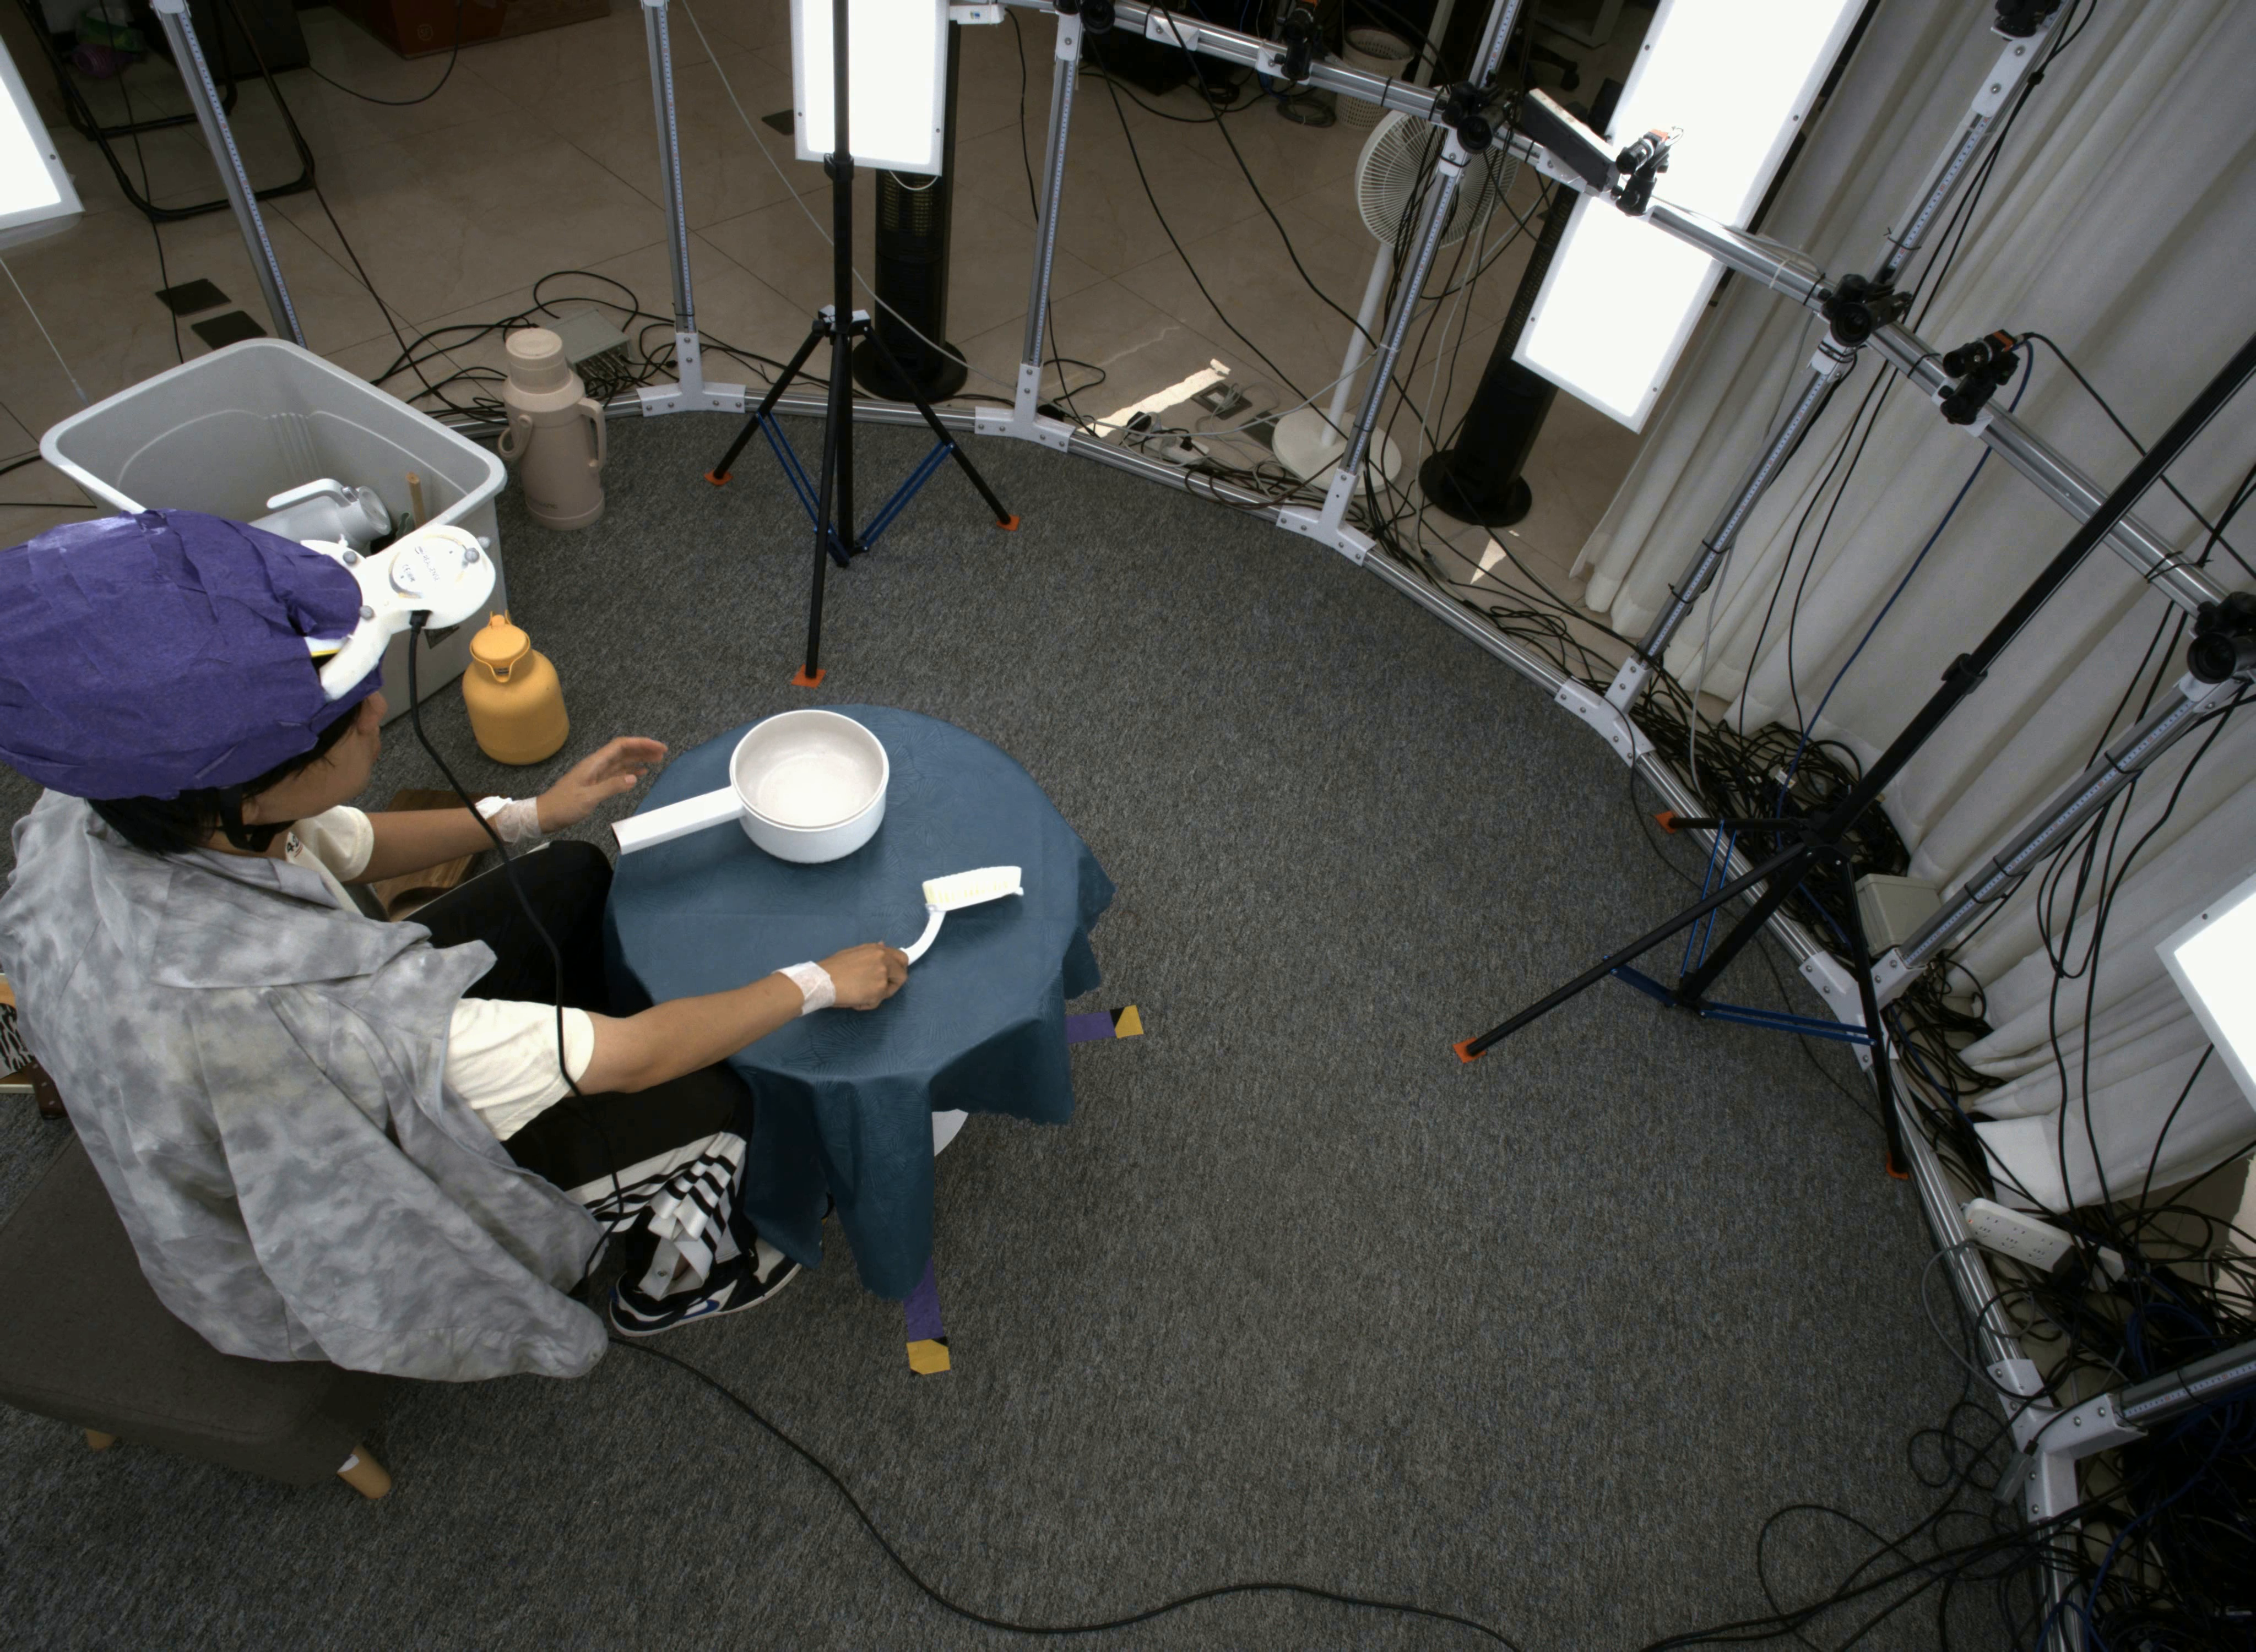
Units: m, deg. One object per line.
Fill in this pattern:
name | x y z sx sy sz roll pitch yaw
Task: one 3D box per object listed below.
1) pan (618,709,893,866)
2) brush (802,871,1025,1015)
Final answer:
pan | -0.474 -0.021 1.666 0.356 0.104 0.196 -22 61 -26
brush | -0.271 0.121 1.624 0.327 0.085 0.082 -27 63 -29
